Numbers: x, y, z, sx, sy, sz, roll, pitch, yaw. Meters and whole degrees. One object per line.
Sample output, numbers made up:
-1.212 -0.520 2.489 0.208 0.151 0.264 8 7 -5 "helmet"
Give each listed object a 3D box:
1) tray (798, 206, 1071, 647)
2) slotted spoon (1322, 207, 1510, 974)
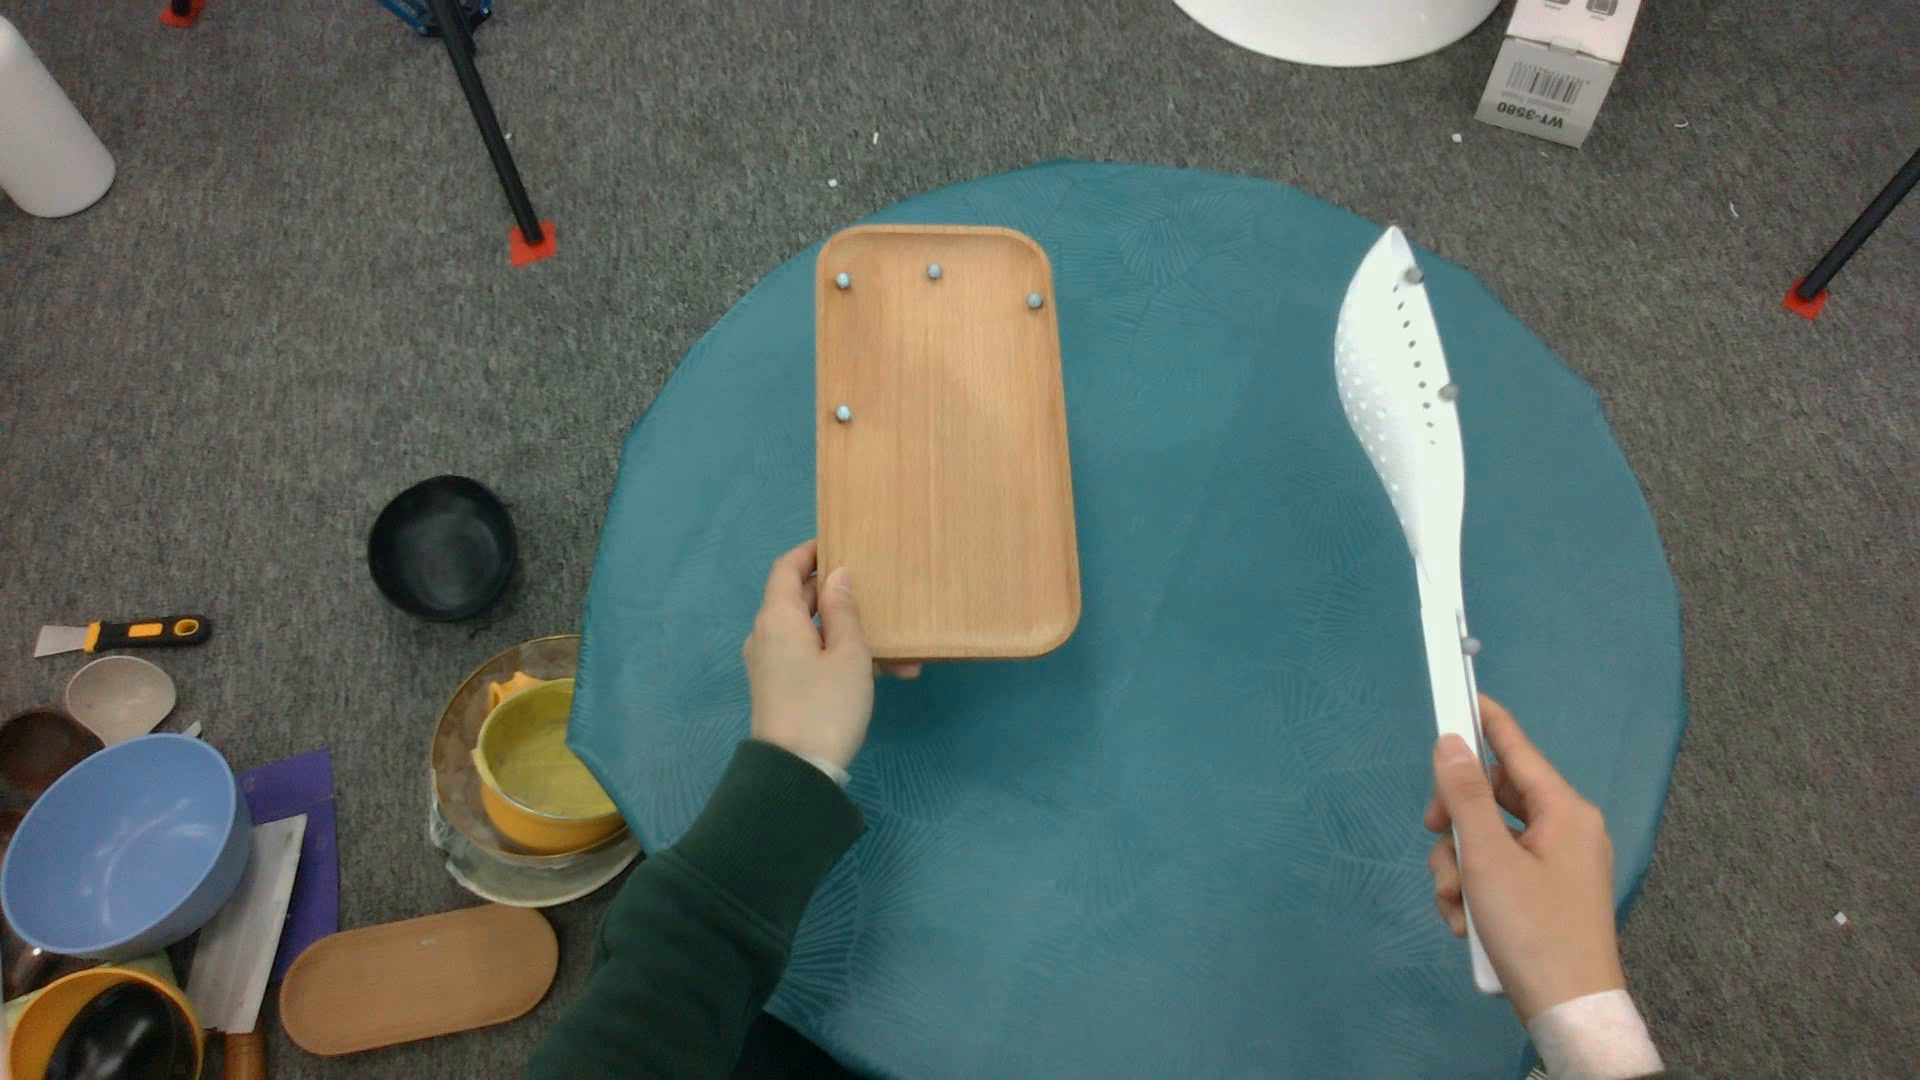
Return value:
-0.016 -0.064 0.698 0.130 0.023 0.251 -1 66 -5 "tray"
0.208 0.009 0.612 0.045 0.136 0.351 -18 61 26 "slotted spoon"
